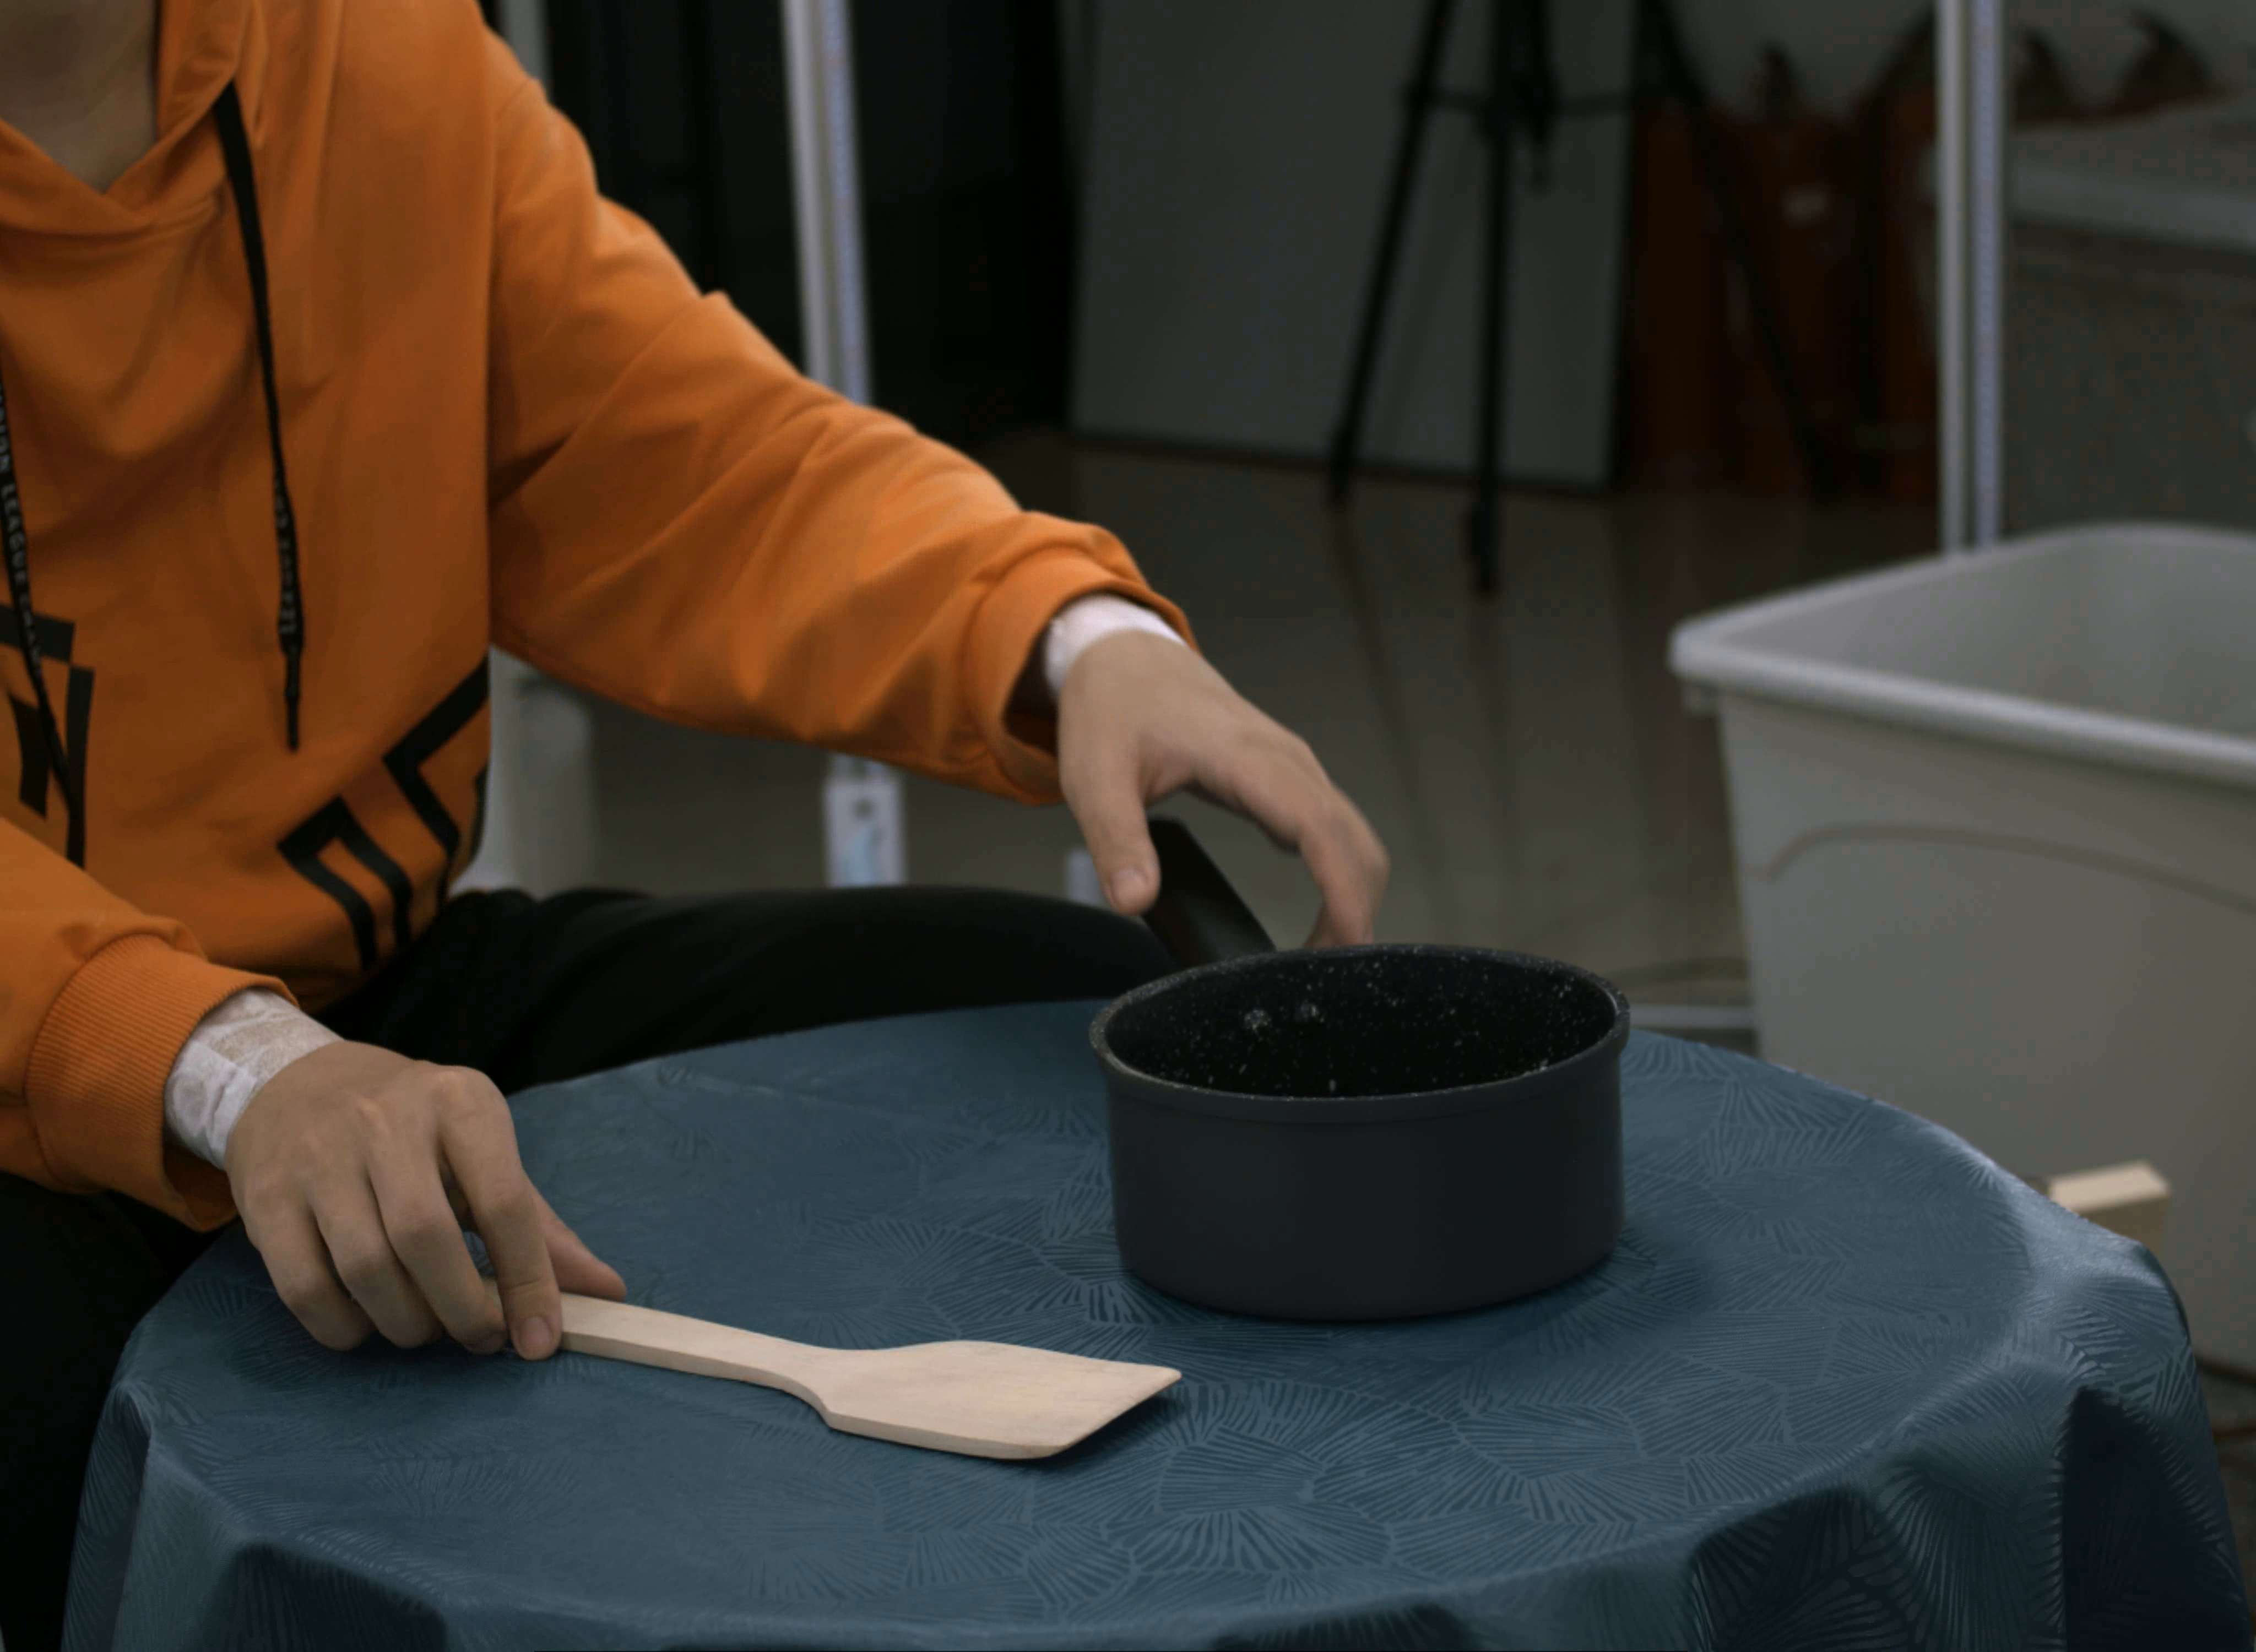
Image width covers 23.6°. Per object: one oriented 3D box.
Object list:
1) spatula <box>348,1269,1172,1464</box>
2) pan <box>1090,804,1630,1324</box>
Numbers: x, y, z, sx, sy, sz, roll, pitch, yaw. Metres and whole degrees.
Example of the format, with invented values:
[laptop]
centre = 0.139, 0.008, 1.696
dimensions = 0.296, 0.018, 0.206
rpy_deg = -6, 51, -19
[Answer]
[spatula]
centre = -0.122, 0.160, 1.633
dimensions = 0.295, 0.011, 0.071
rpy_deg = 5, 20, 35
[pan]
centre = 0.055, 0.074, 1.768
dimensions = 0.169, 0.087, 0.331
rpy_deg = -6, 15, -12
